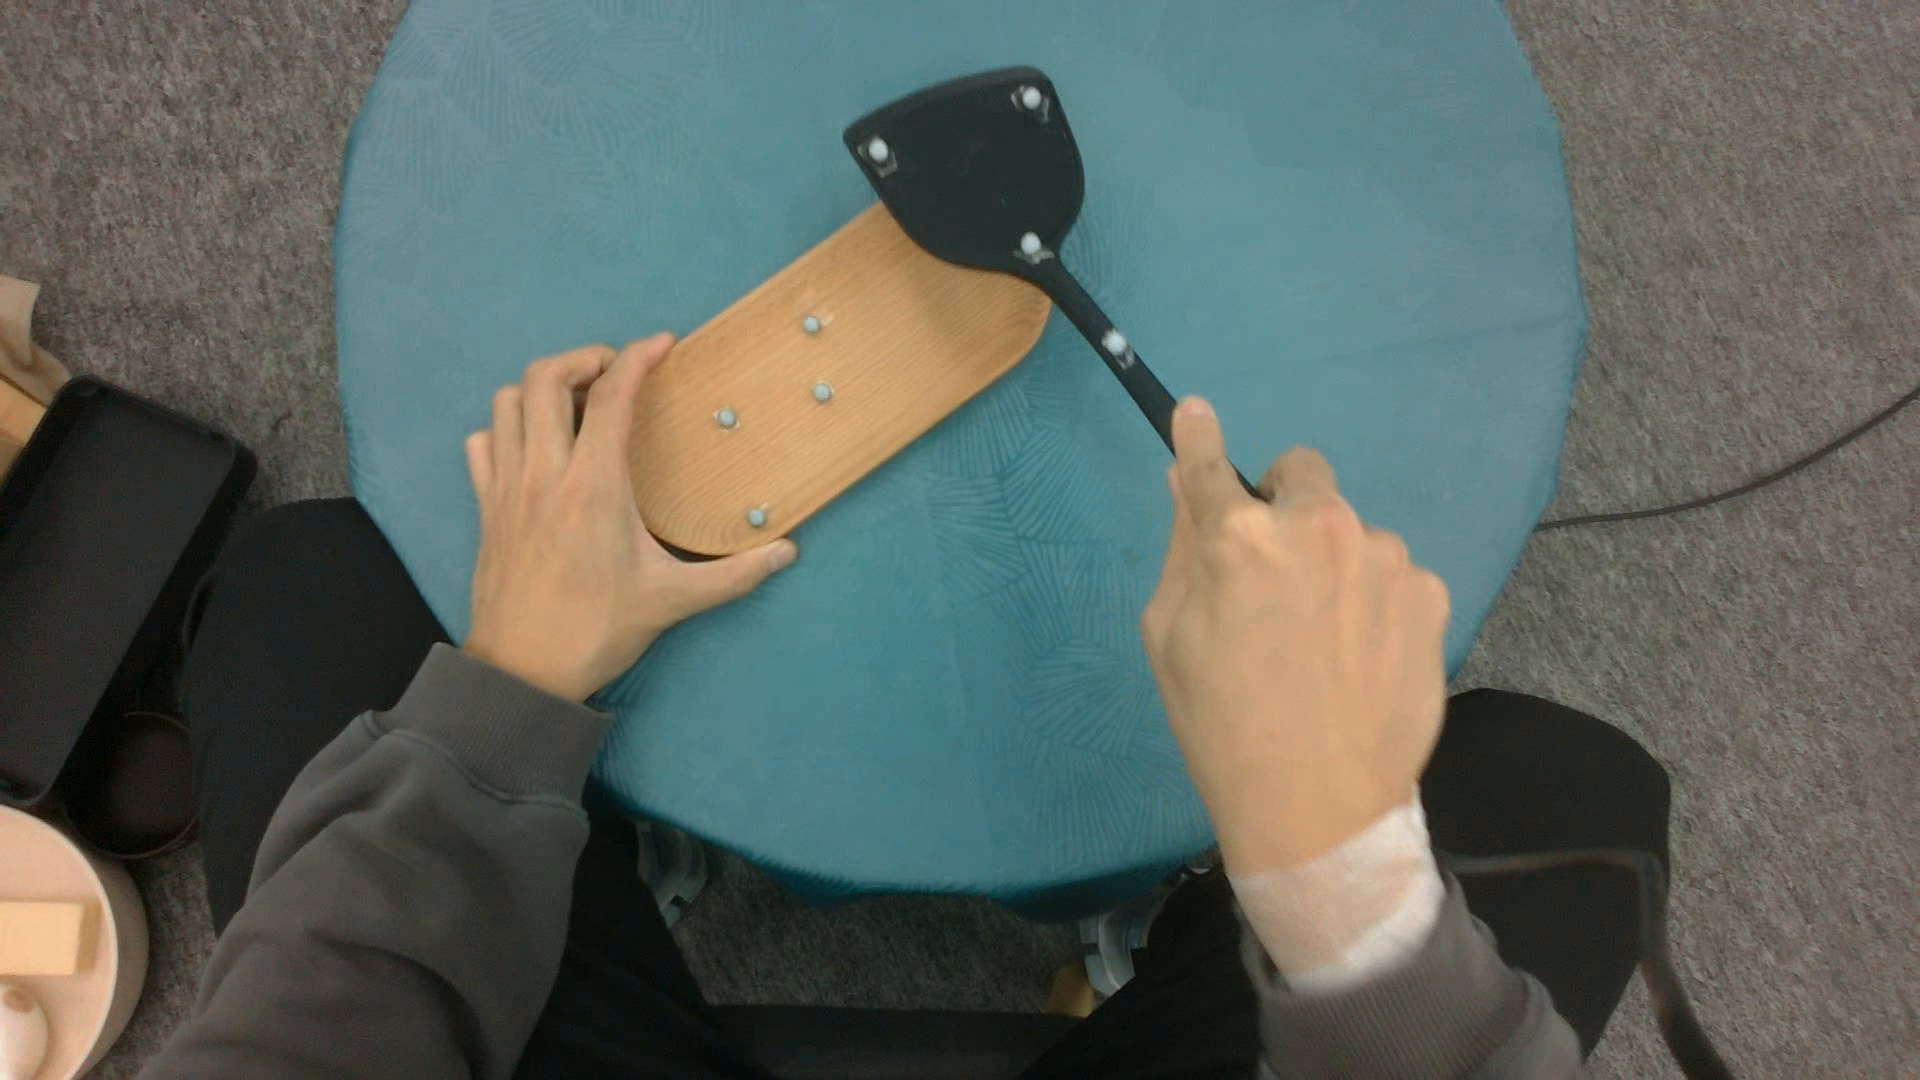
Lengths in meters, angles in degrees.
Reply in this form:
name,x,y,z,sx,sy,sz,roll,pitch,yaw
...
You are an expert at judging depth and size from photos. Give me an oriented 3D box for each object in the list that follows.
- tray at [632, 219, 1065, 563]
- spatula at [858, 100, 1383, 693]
name,x,y,z,sx,sy,sz,roll,pitch,yaw
tray,-0.052,-0.078,0.662,0.231,0.020,0.102,-37,86,-9
spatula,0.064,-0.069,0.538,0.100,0.040,0.327,-23,52,-12
